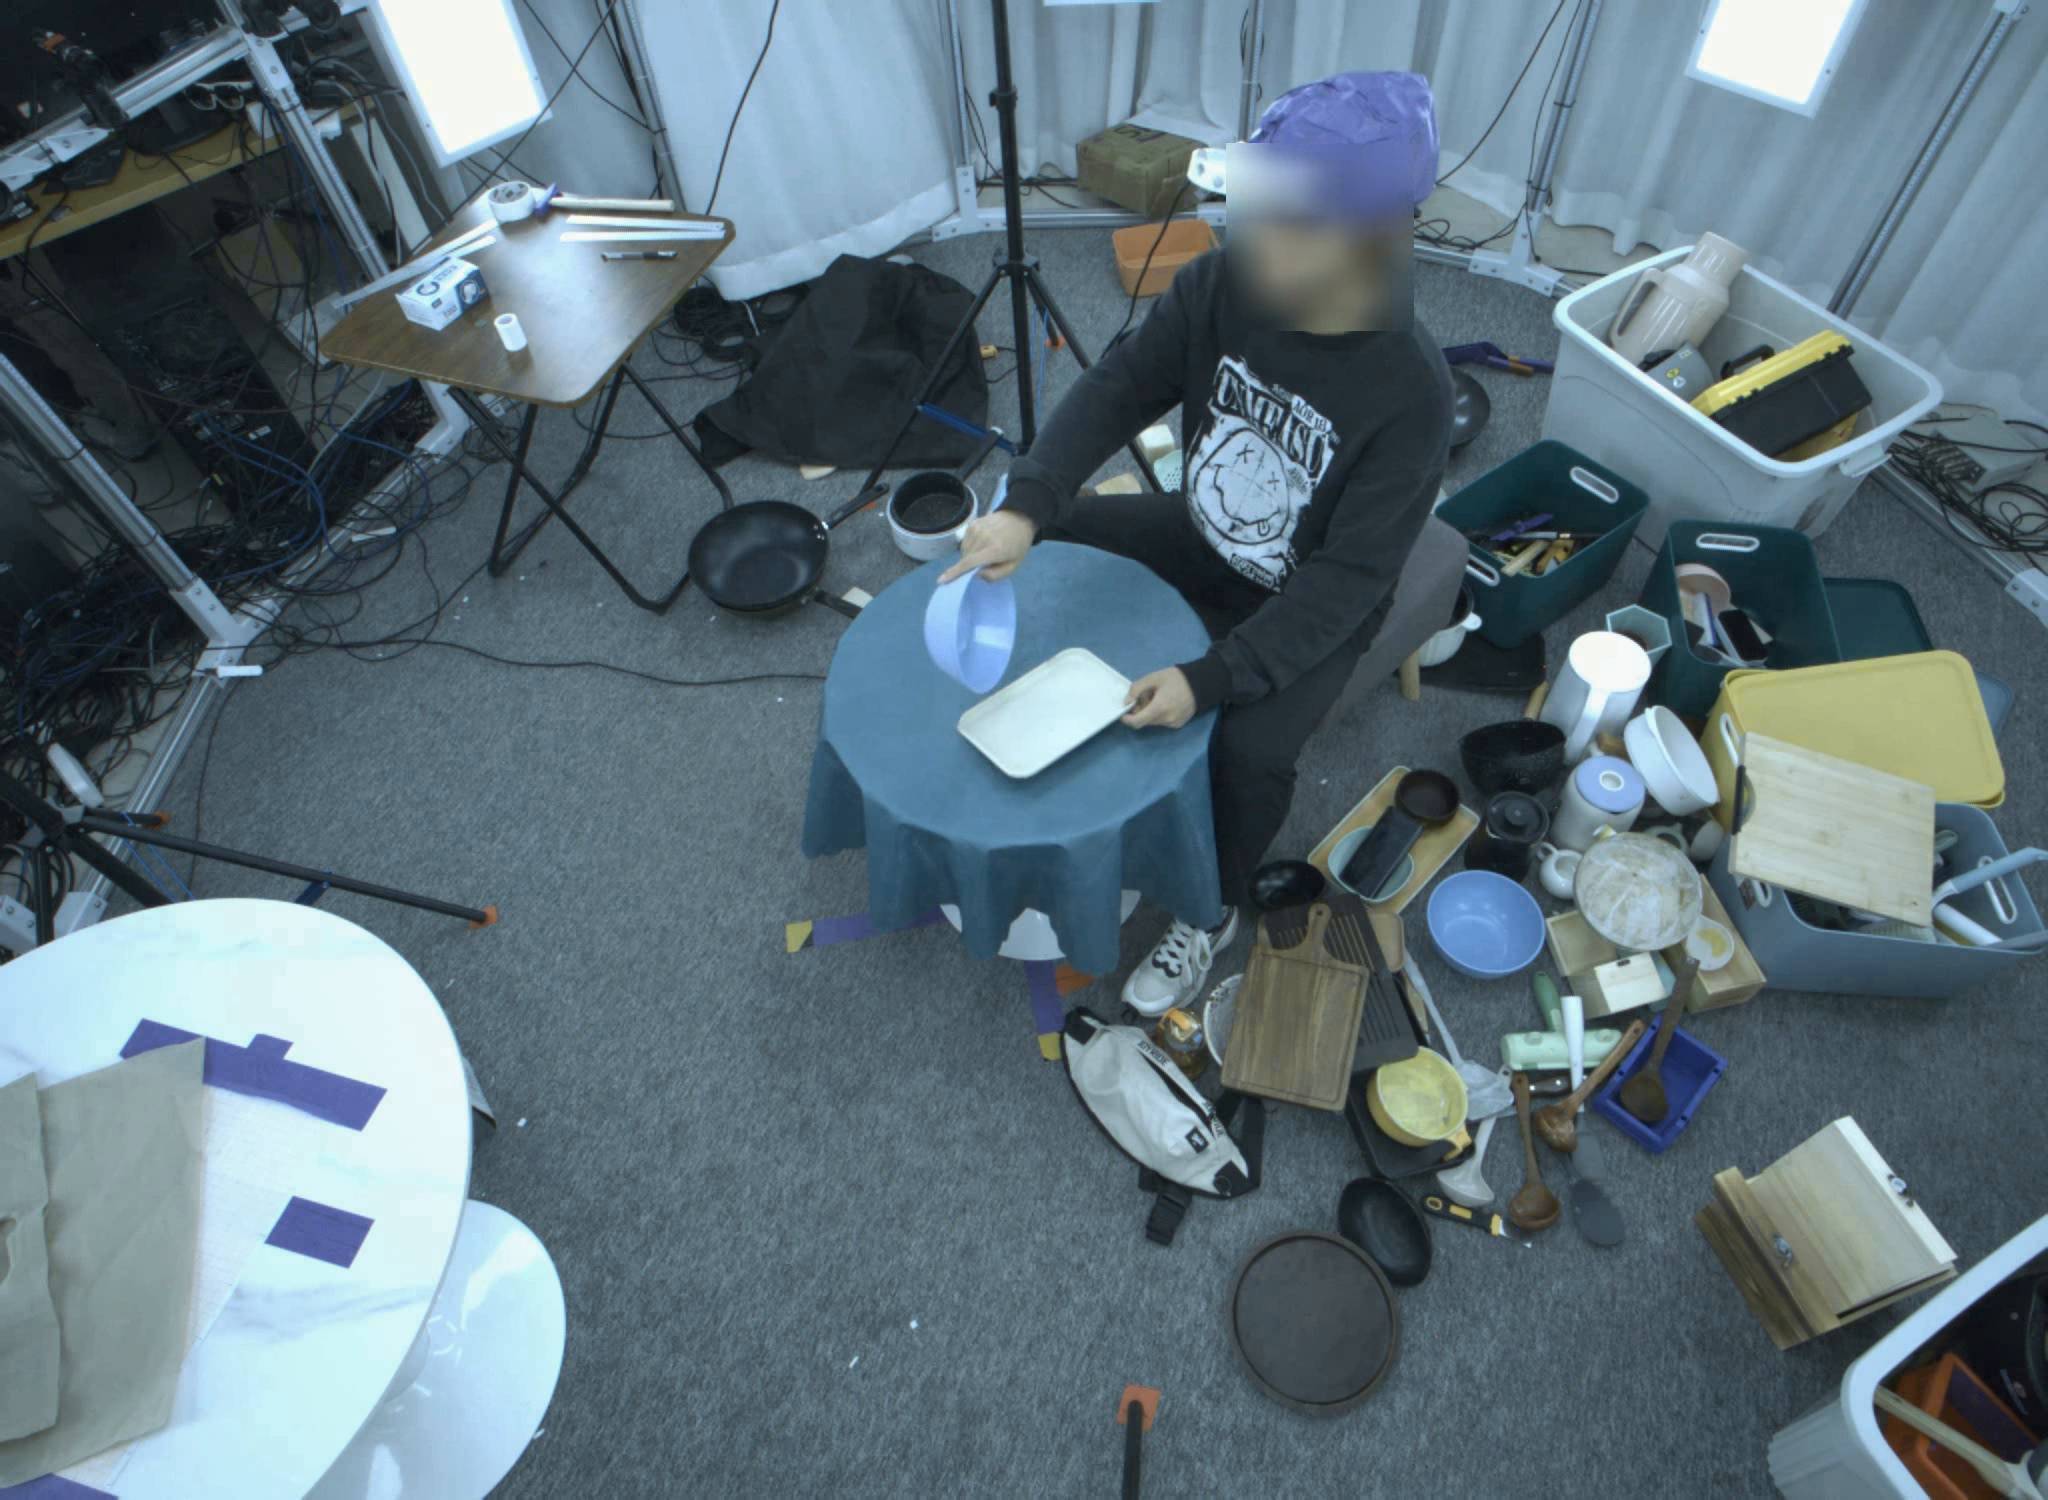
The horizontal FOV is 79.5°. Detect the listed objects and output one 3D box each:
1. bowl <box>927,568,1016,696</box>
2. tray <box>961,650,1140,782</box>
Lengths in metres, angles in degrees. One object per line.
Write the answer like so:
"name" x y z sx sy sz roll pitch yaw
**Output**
"bowl" -0.078 -0.164 1.685 0.069 0.179 0.176 8 55 24
"tray" 0.039 -0.051 1.806 0.241 0.018 0.167 -34 51 -19
